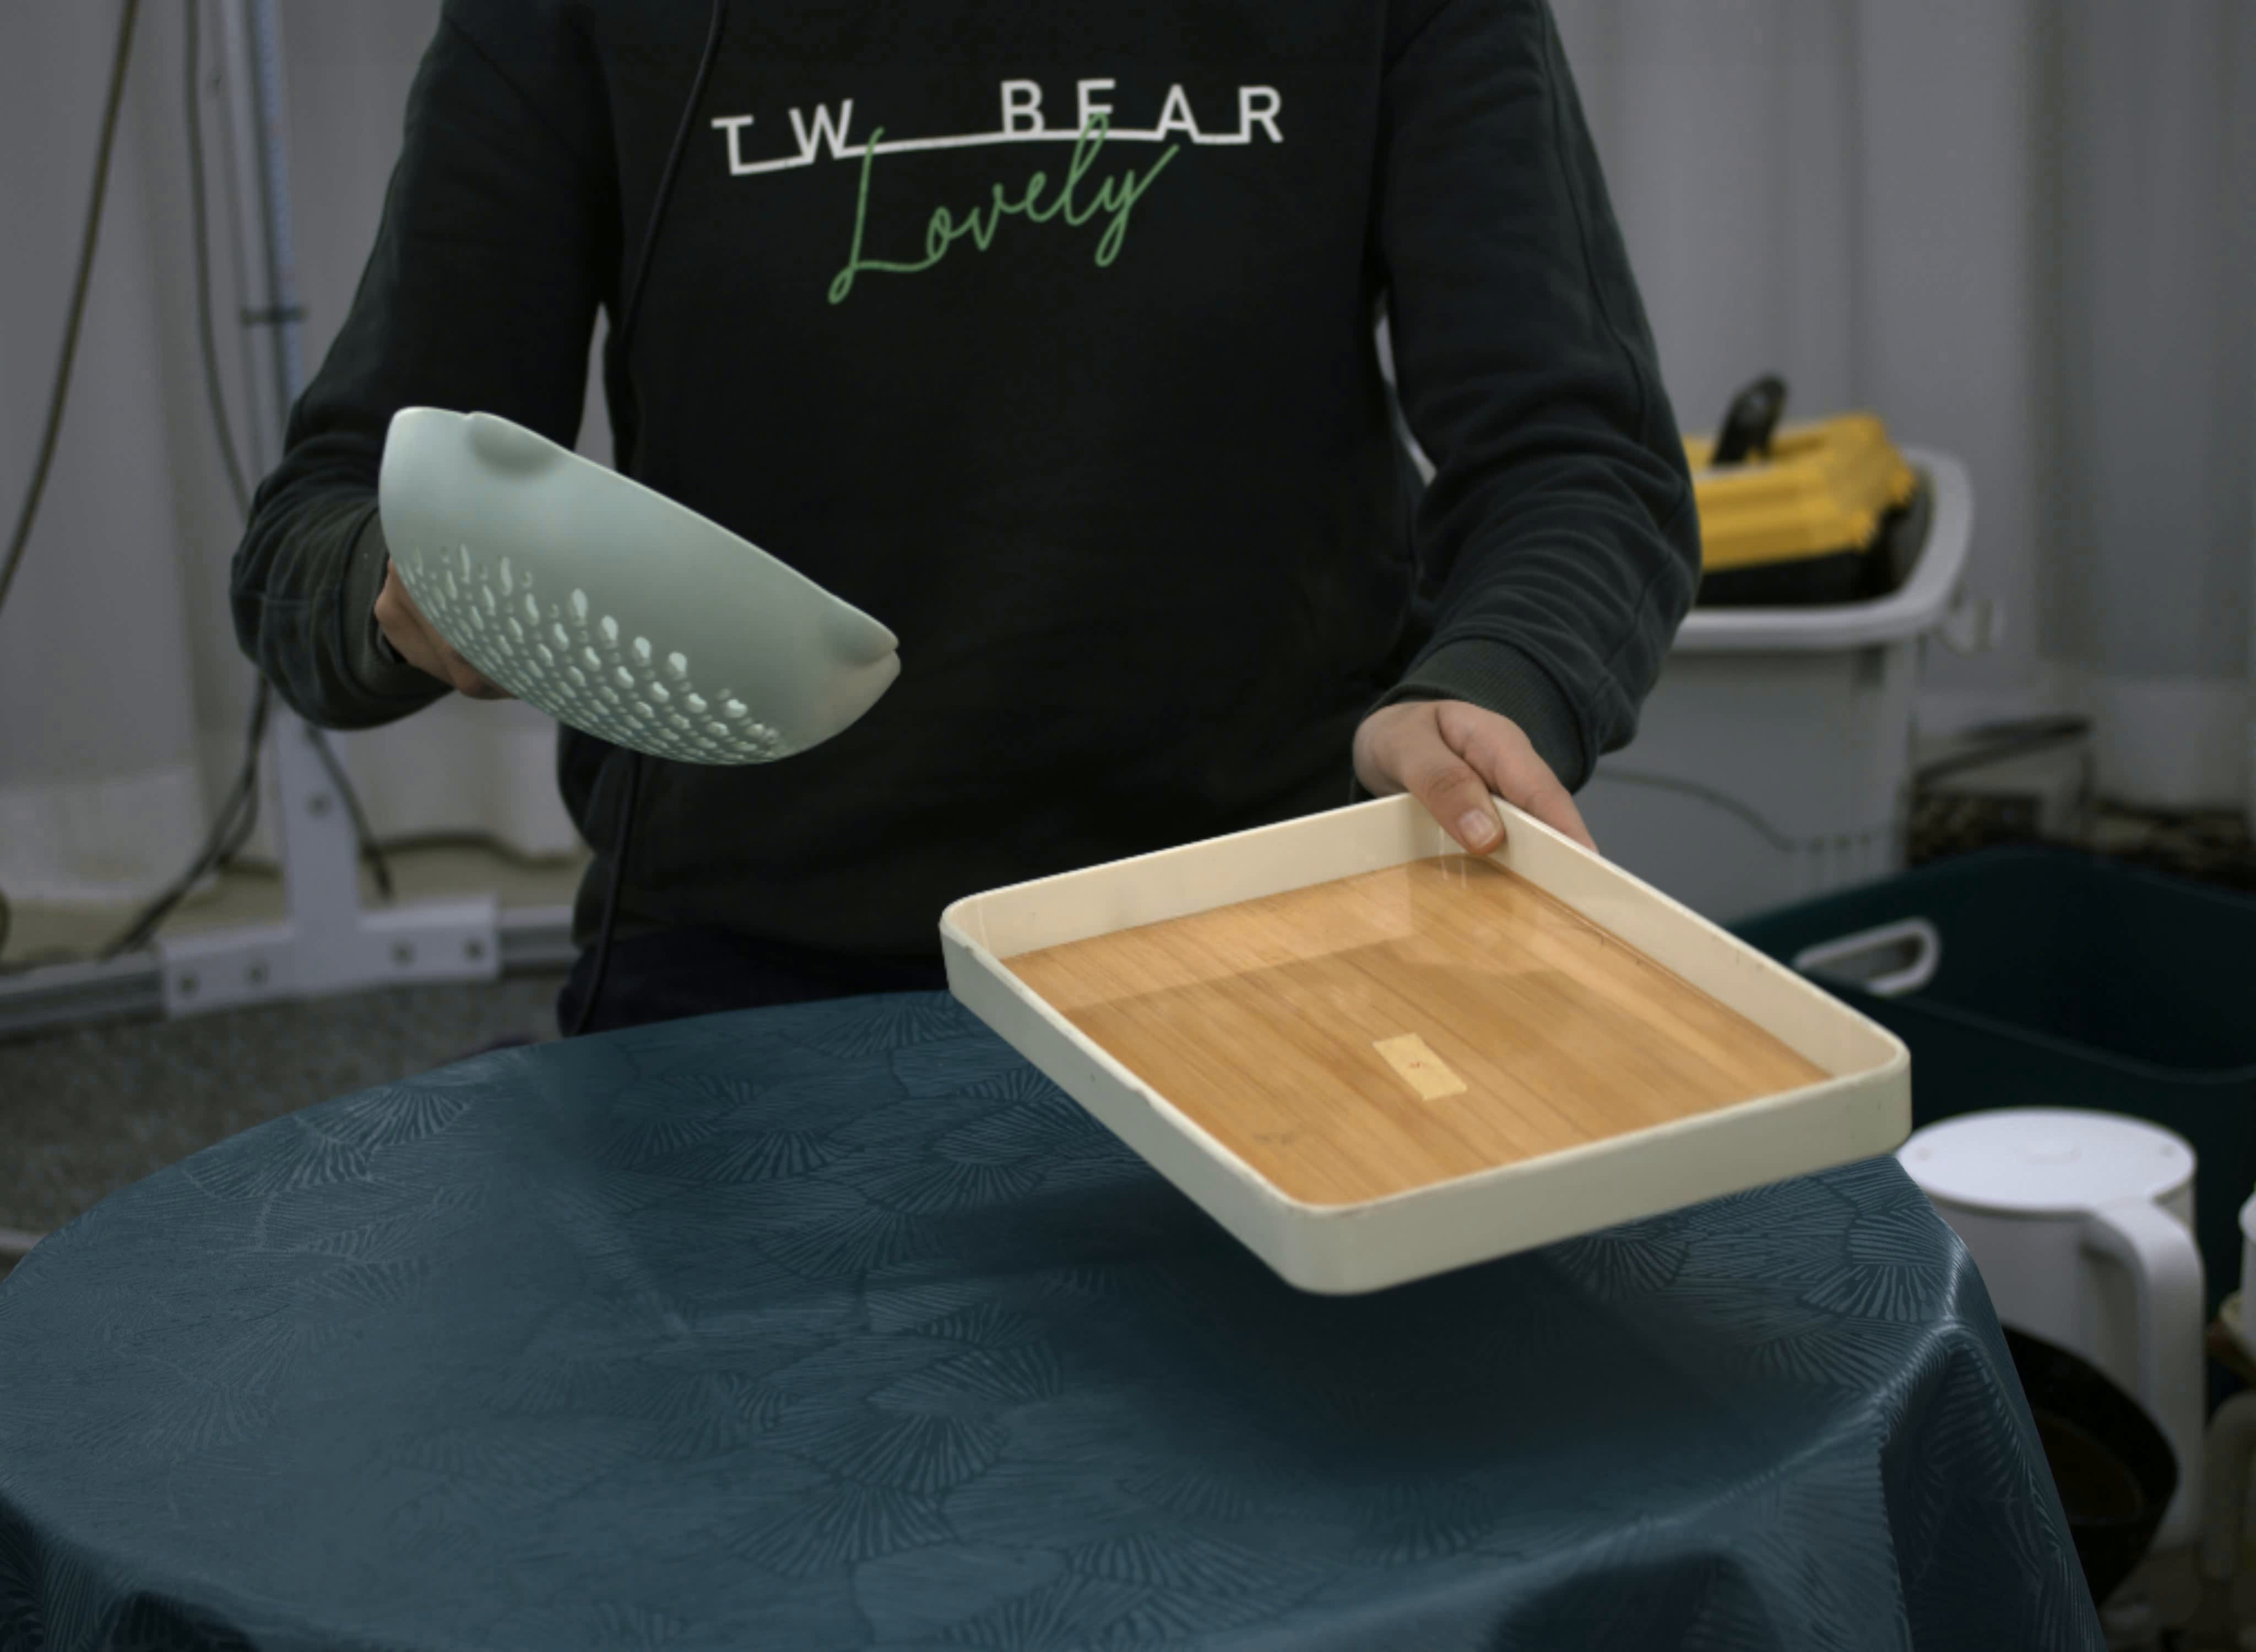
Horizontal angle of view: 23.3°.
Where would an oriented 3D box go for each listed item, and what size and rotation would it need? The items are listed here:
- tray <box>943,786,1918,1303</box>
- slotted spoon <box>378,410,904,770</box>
[{"bbox_3d":[0.081,0.058,1.598,0.191,0.027,0.303,-13,20,-18],"label":"tray"},{"bbox_3d":[-0.178,-0.065,1.723,0.168,0.075,0.360,30,-4,-14],"label":"slotted spoon"}]
